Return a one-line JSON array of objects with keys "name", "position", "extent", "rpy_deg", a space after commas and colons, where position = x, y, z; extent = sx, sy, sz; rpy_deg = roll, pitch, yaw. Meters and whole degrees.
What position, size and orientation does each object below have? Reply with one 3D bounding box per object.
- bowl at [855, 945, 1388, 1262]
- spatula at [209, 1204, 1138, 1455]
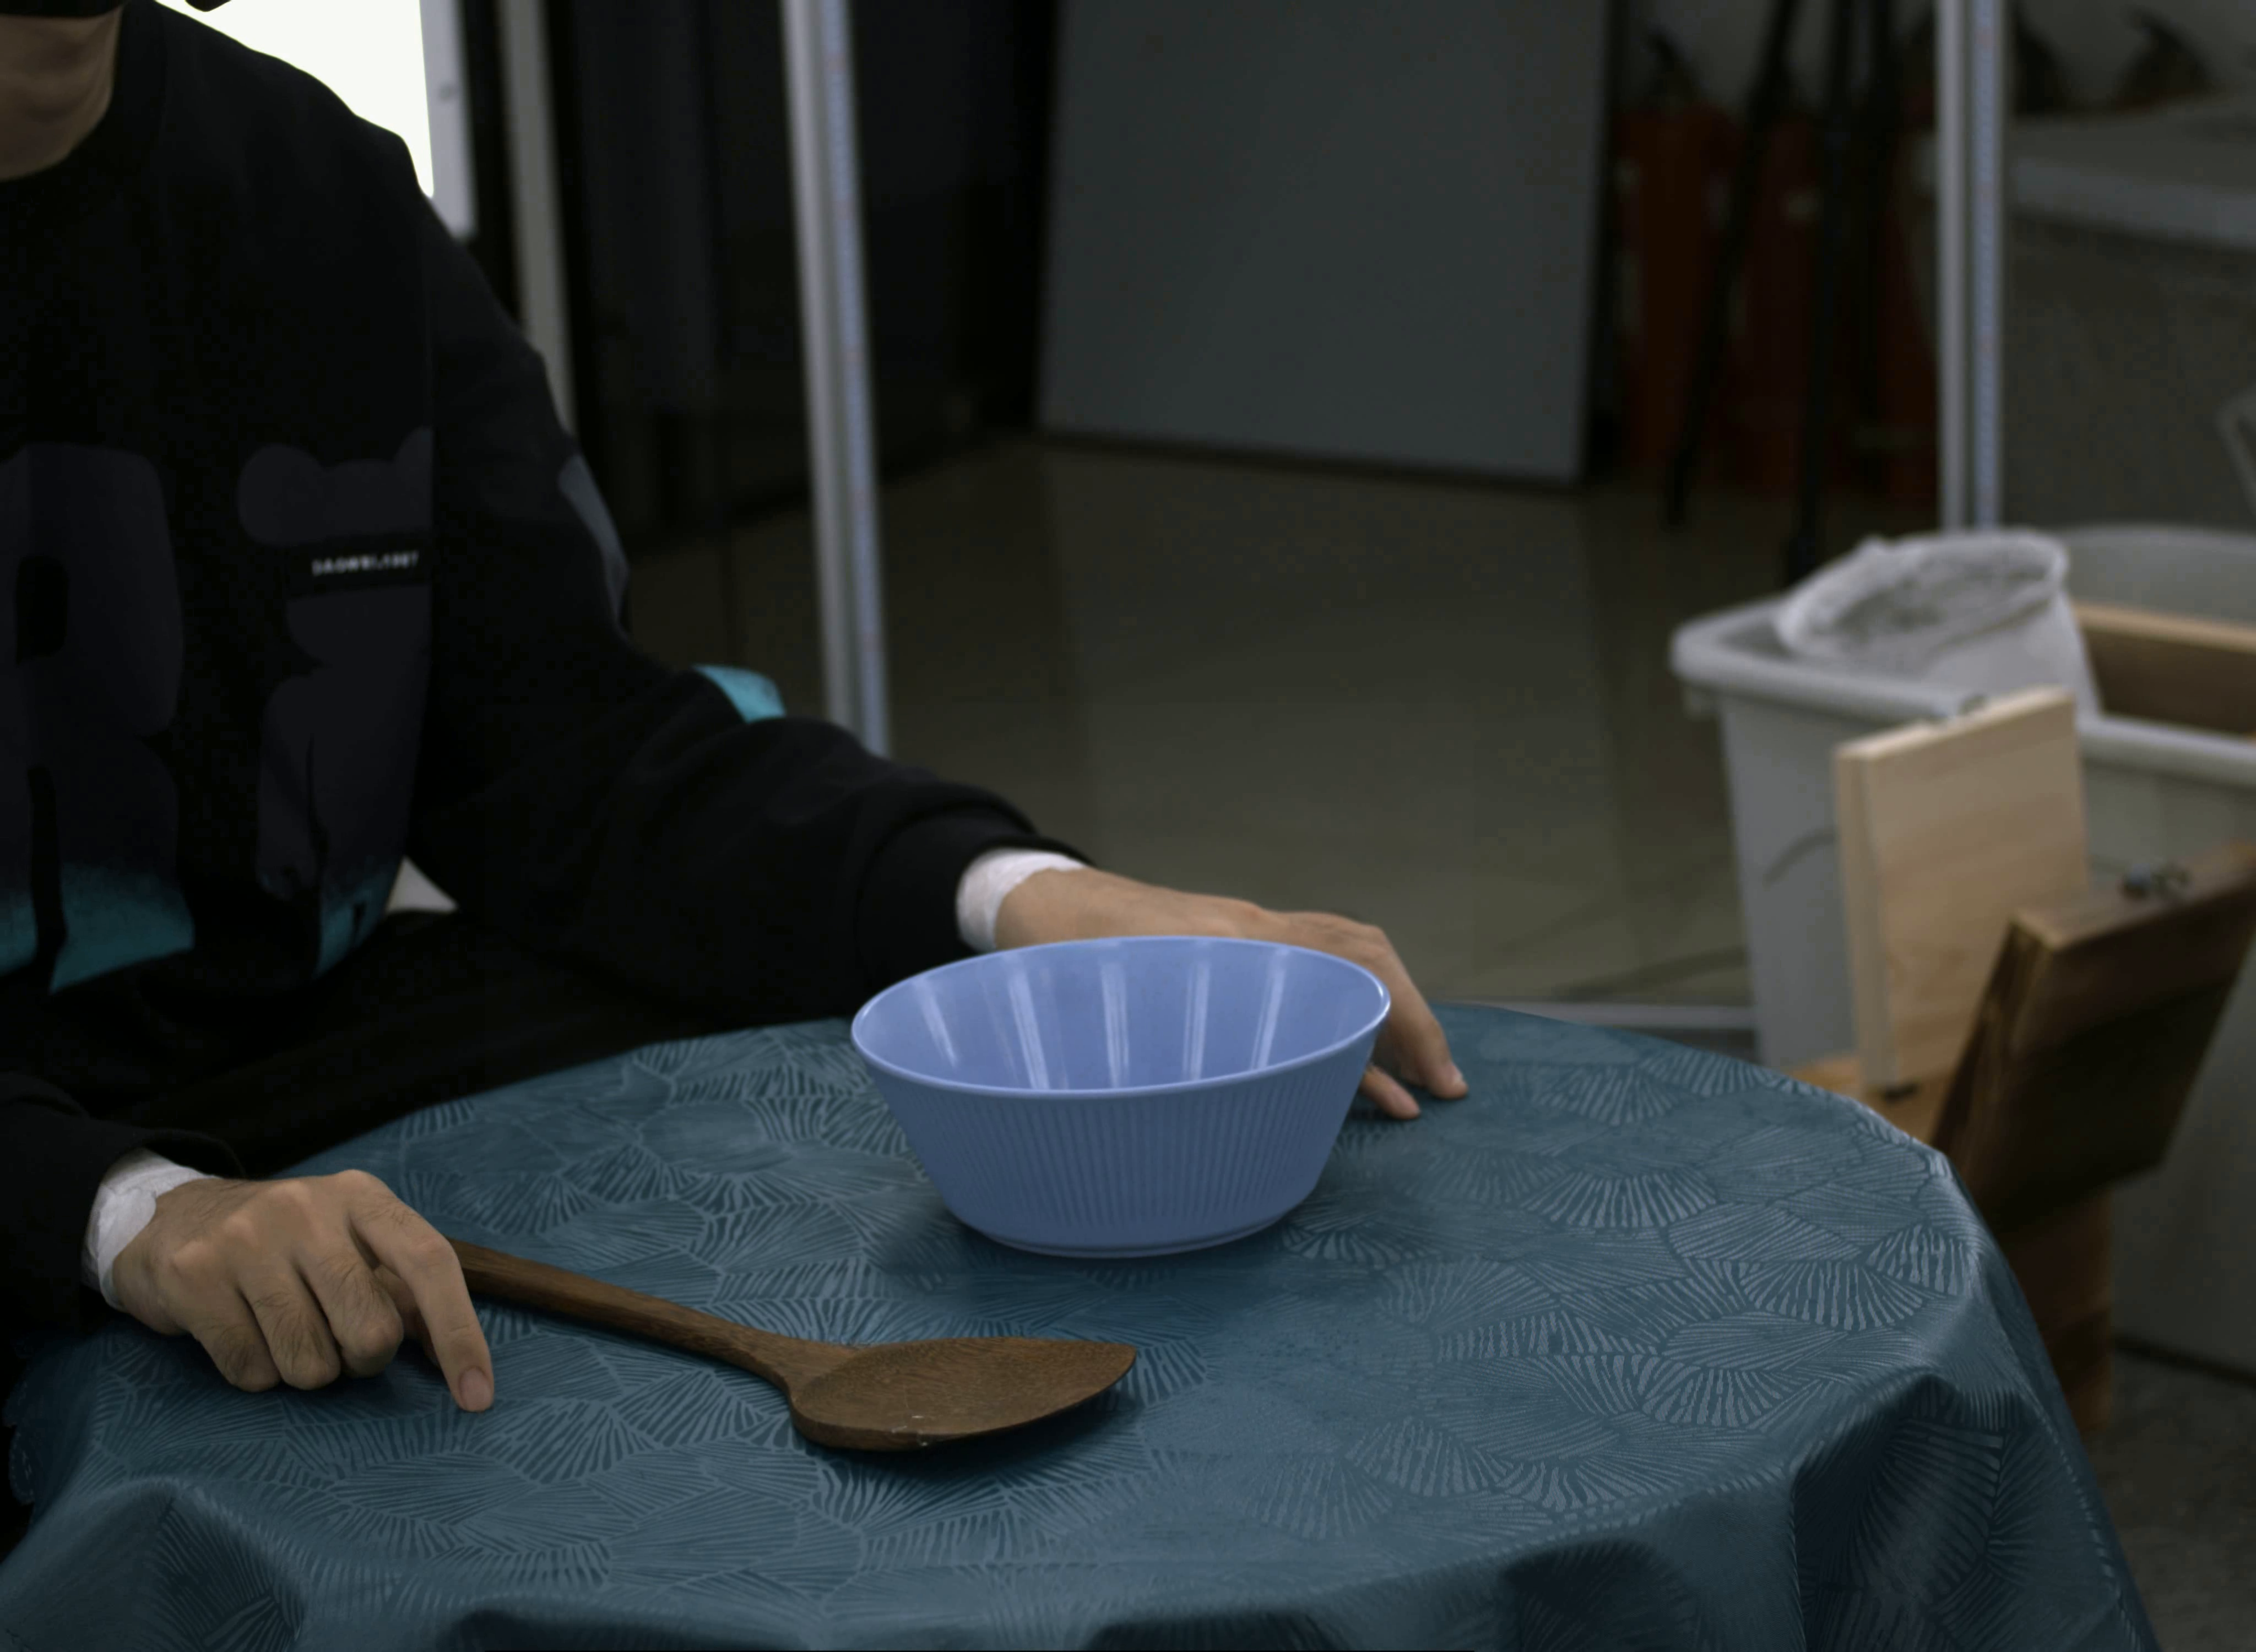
[{"name": "bowl", "position": [0.000, 0.092, 1.746], "extent": [0.174, 0.071, 0.176], "rpy_deg": [-5, 12, 0]}, {"name": "spatula", "position": [-0.159, 0.151, 1.671], "extent": [0.389, 0.016, 0.094], "rpy_deg": [8, 18, 42]}]
